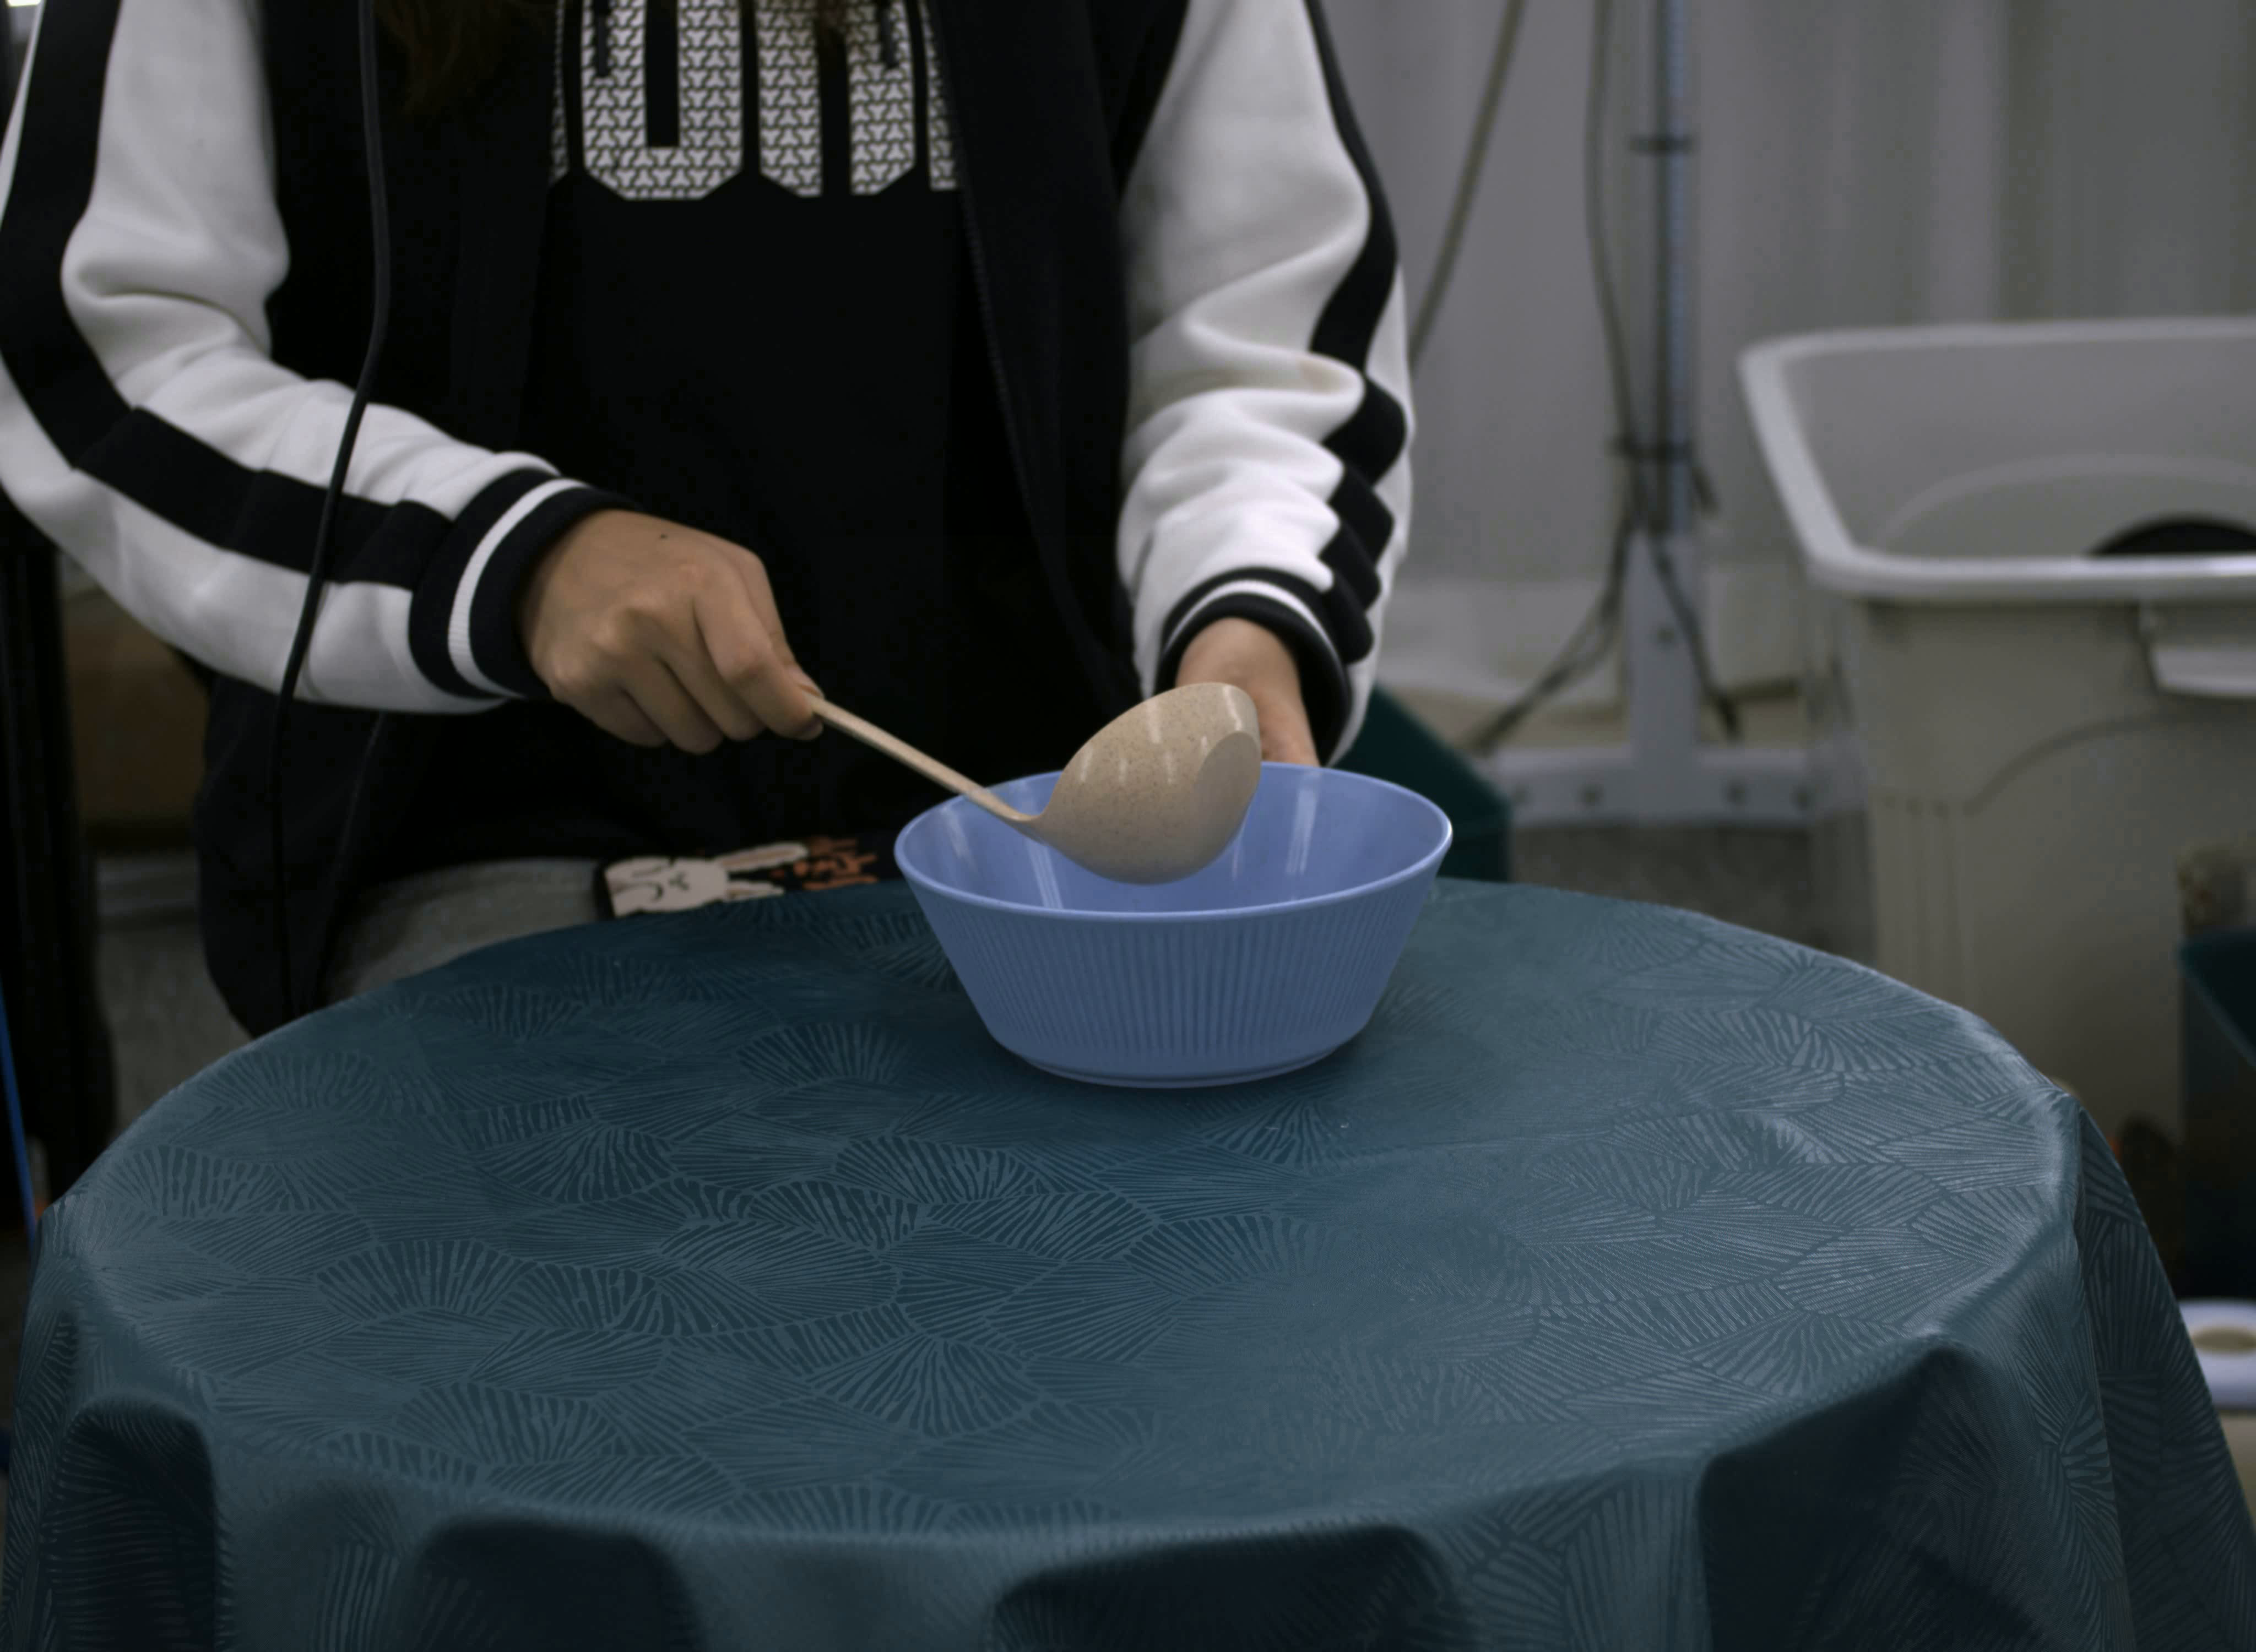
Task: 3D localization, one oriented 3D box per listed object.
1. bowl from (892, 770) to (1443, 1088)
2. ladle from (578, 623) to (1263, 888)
[{"bbox_3d":[0.013,0.034,1.688,0.175,0.070,0.177,-2,16,-1],"label":"bowl"},{"bbox_3d":[-0.068,-0.050,1.731,0.260,0.073,0.070,25,-9,33],"label":"ladle"}]
